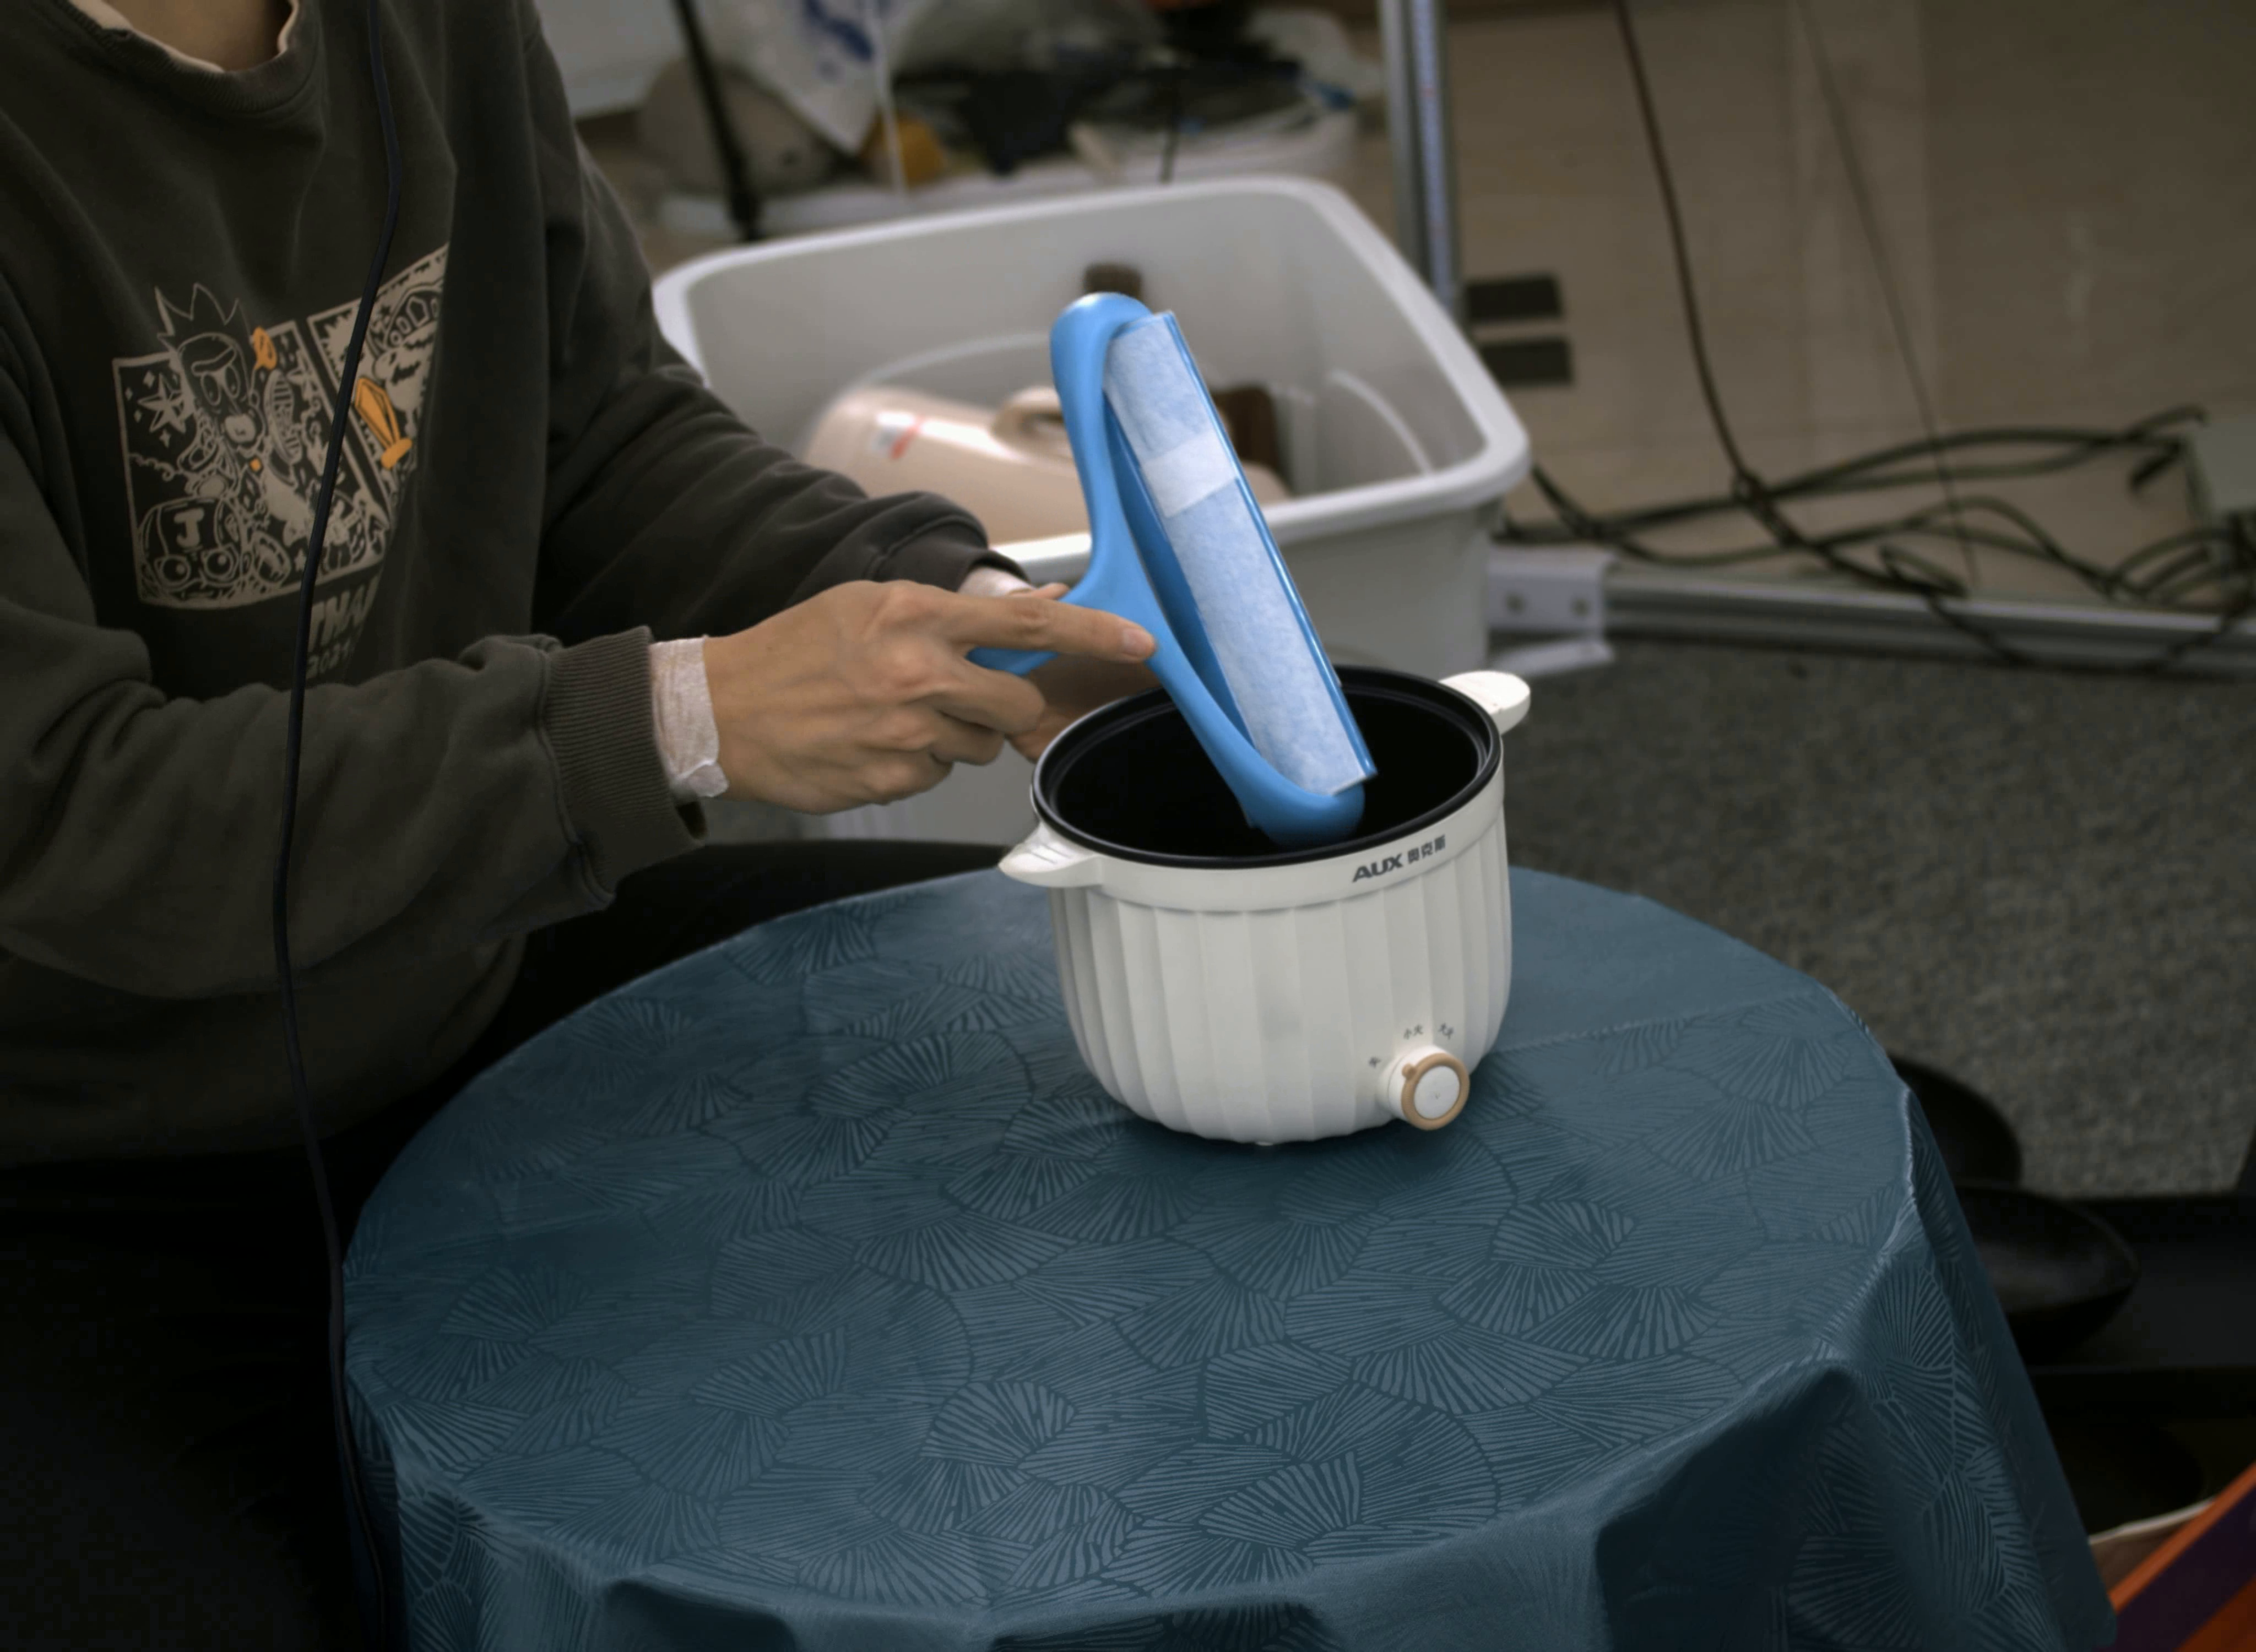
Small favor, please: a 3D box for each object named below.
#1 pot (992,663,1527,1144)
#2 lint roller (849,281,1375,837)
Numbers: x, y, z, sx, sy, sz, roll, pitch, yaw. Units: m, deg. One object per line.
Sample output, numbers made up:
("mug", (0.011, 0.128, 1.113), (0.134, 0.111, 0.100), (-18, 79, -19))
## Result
("pot", (0.064, 0.035, 2.188), (0.239, 0.145, 0.189), (-22, 26, -26))
("lint roller", (-0.017, -0.078, 2.111), (0.179, 0.229, 0.068), (-27, 3, -29))
